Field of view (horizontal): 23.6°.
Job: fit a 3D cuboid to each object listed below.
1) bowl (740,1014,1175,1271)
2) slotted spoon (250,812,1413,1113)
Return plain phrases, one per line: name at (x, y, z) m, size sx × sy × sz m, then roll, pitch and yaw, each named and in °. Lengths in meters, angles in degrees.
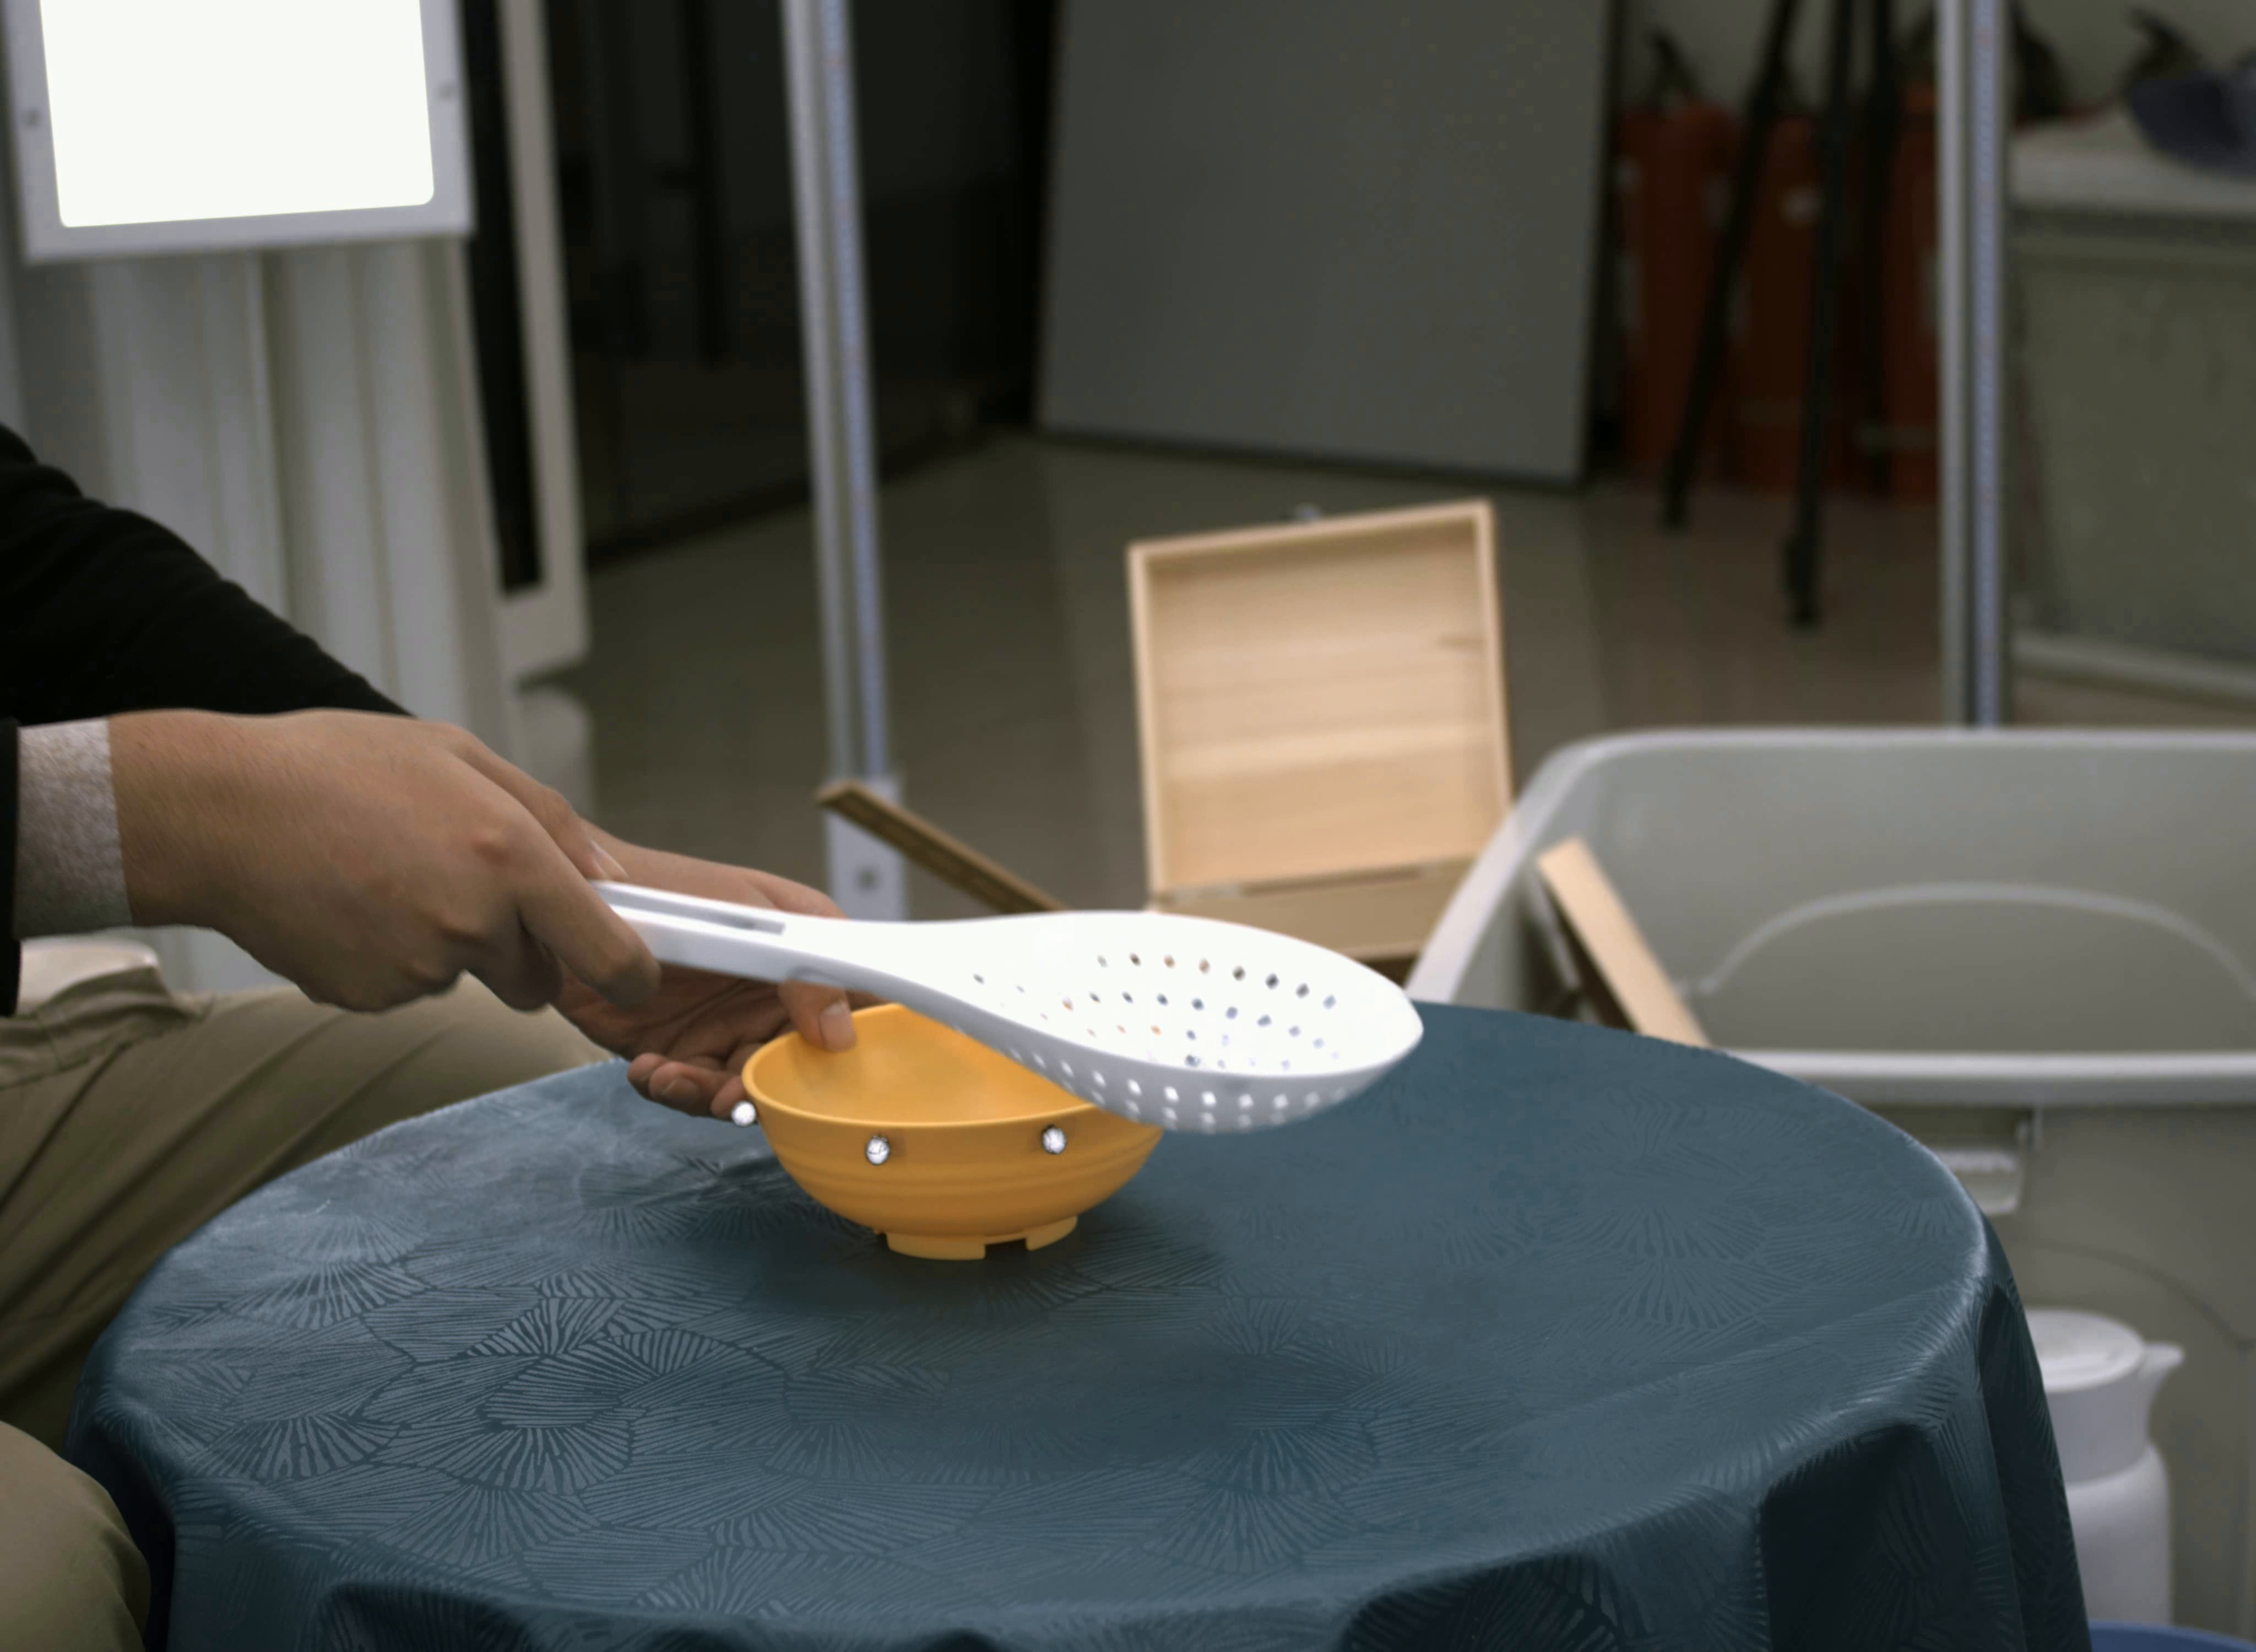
bowl at (-0.052, 0.105, 1.736) m, size 0.143 × 0.061 × 0.145 m, roll -3°, pitch 11°, yaw 0°
slotted spoon at (-0.088, 0.033, 1.598) m, size 0.346 × 0.046 × 0.136 m, roll 13°, pitch 17°, yaw 3°
